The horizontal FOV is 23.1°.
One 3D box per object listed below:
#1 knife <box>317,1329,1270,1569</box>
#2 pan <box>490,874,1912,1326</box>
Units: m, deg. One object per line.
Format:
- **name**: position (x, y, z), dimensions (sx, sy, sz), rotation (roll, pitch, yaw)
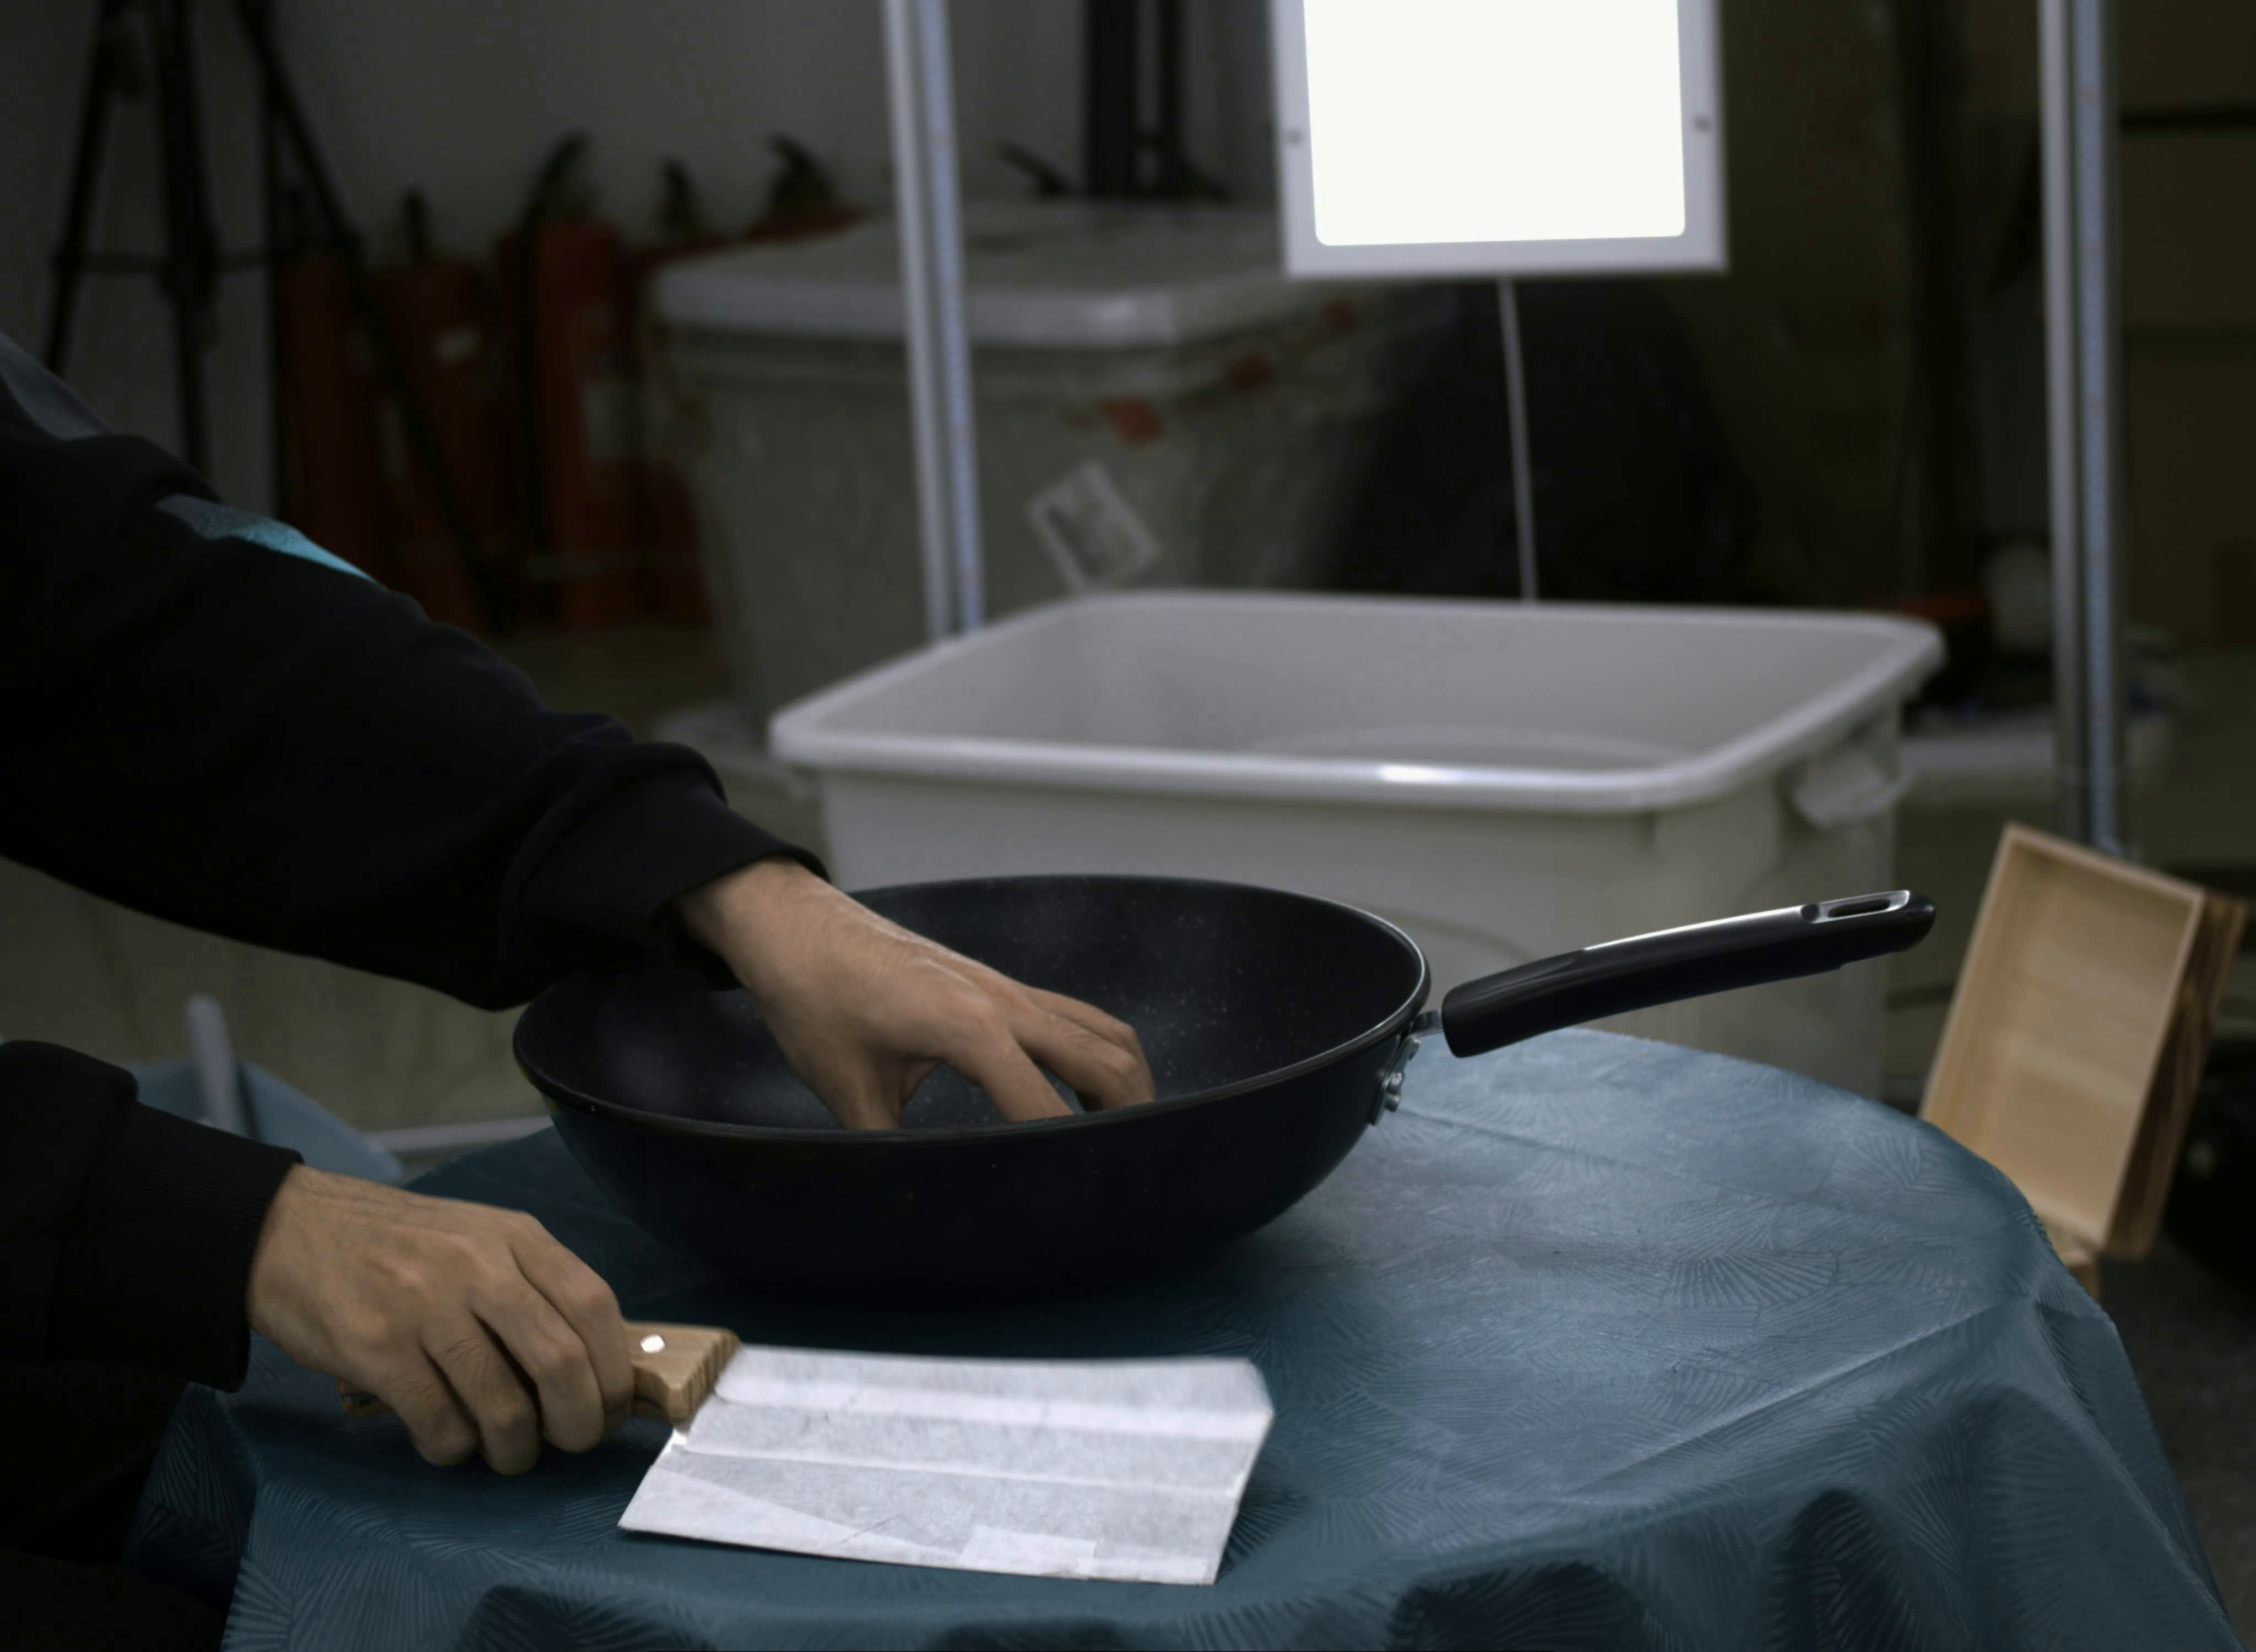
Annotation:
- **knife**: position (-0.103, 0.180, 1.643), dimensions (0.320, 0.022, 0.112), rotation (4, 32, 26)
- **pan**: position (0.024, 0.086, 1.833), dimensions (0.481, 0.112, 0.306), rotation (-2, 16, 14)
